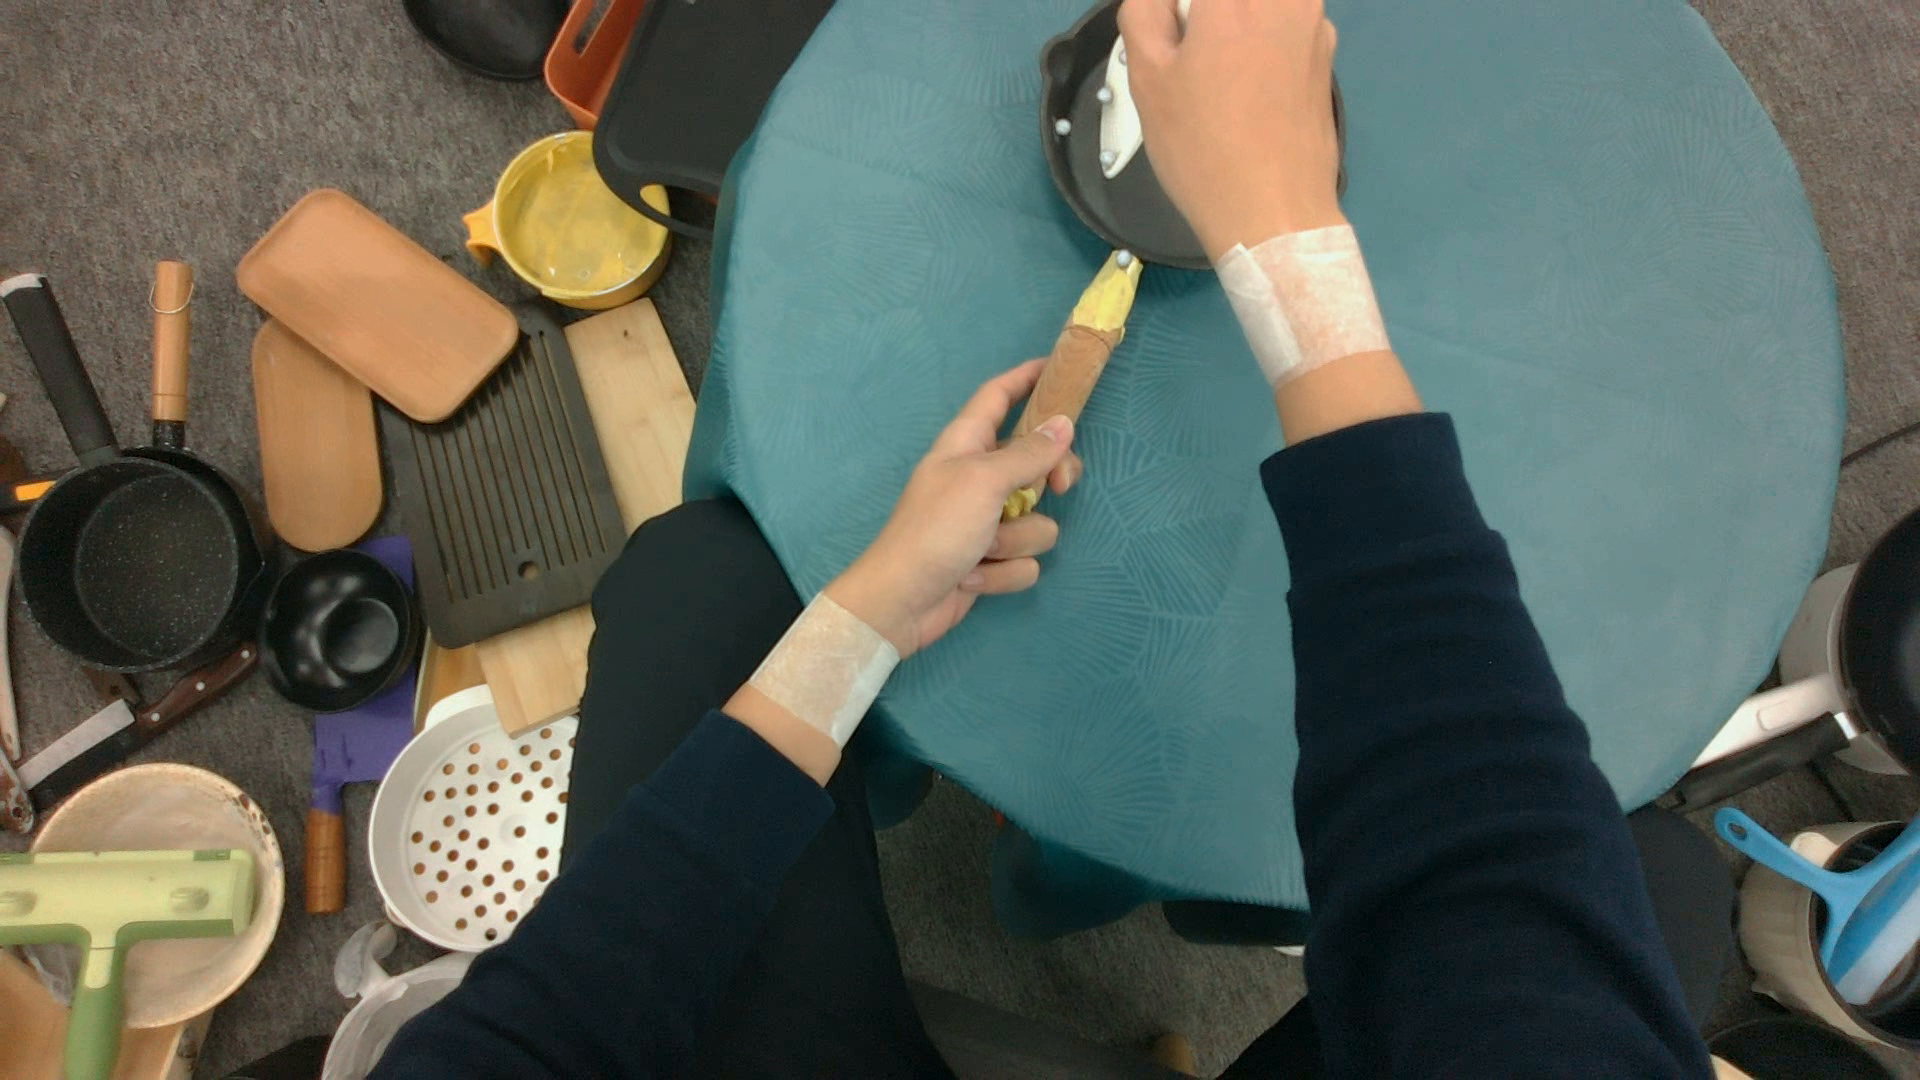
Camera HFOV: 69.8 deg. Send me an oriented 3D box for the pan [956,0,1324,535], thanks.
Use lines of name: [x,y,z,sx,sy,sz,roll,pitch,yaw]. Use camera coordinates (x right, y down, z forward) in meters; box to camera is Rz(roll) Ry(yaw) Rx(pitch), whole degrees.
pan: [0.071,-0.146,0.695,0.169,0.049,0.325,27,79,0]

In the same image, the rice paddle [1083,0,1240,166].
rice paddle: [0.080,-0.221,0.627,0.029,0.205,0.069,2,91,-10]
